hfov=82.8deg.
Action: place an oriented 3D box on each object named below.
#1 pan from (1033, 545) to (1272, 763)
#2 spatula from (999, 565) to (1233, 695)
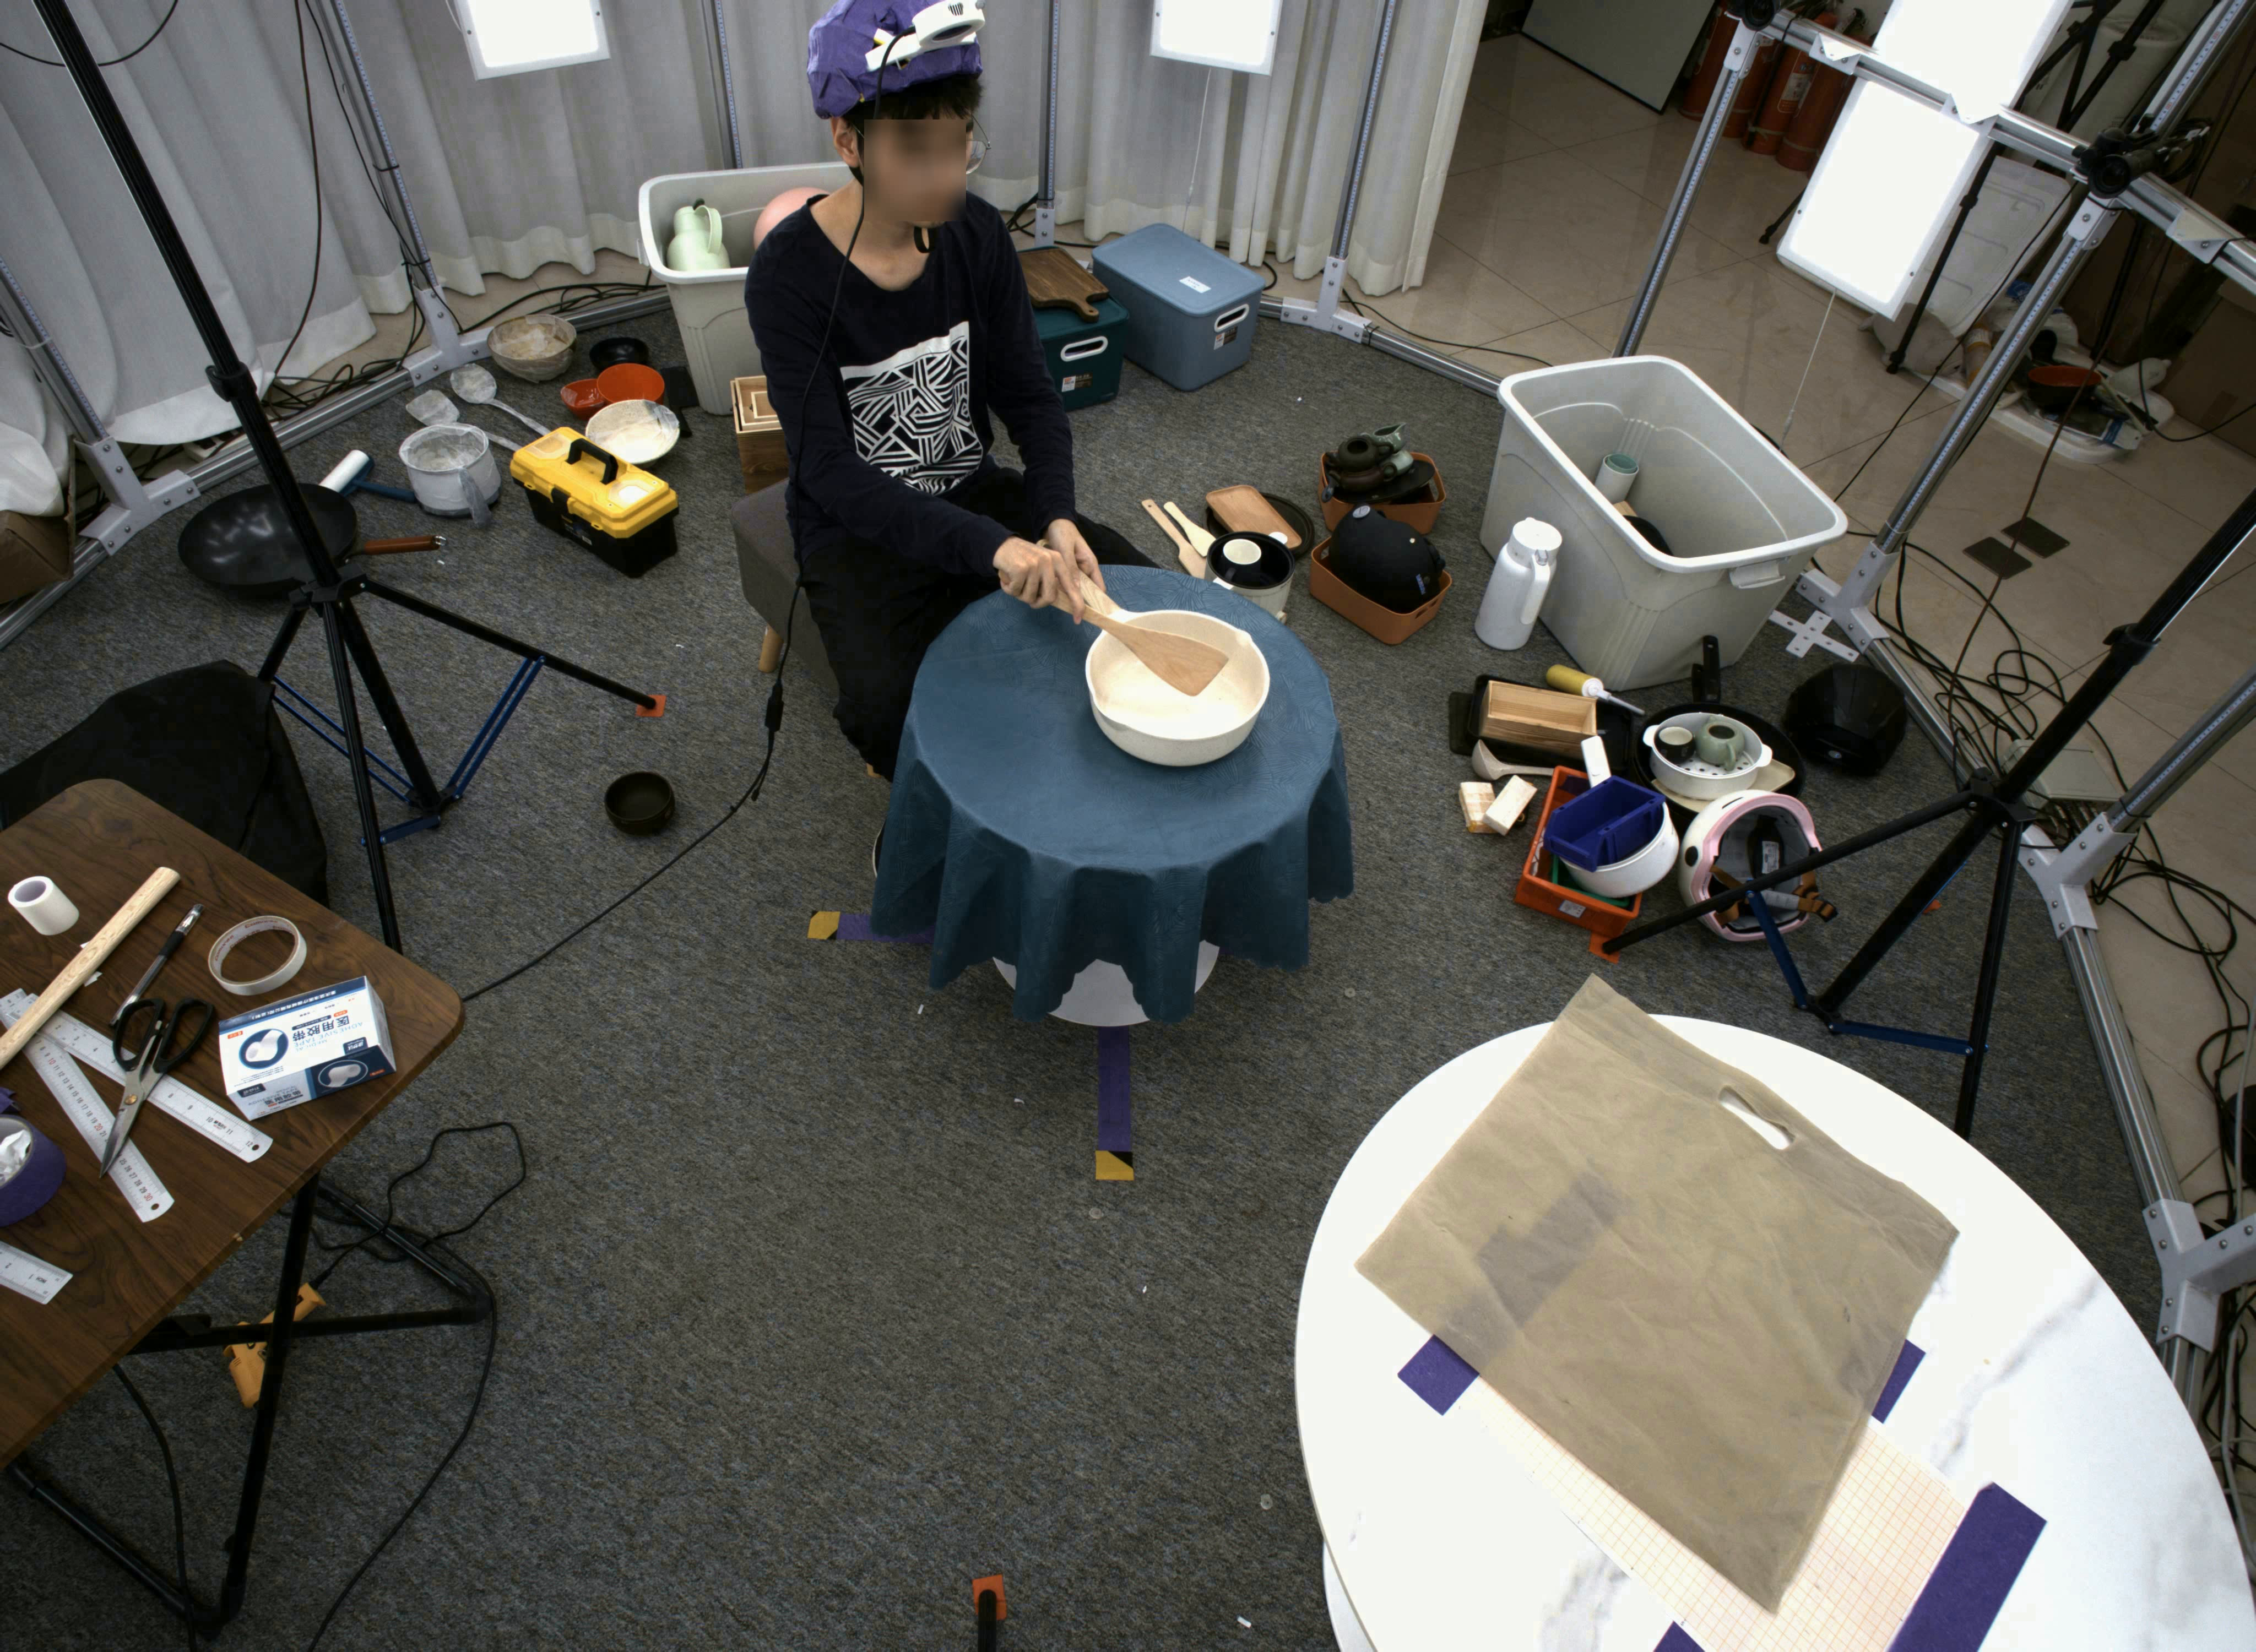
[{"bbox_3d":[0.010,-0.248,1.815,0.265,0.099,0.442,-31,57,-26],"label":"pan"},{"bbox_3d":[-0.021,-0.268,1.713,0.326,0.078,0.017,25,27,-6],"label":"spatula"}]
